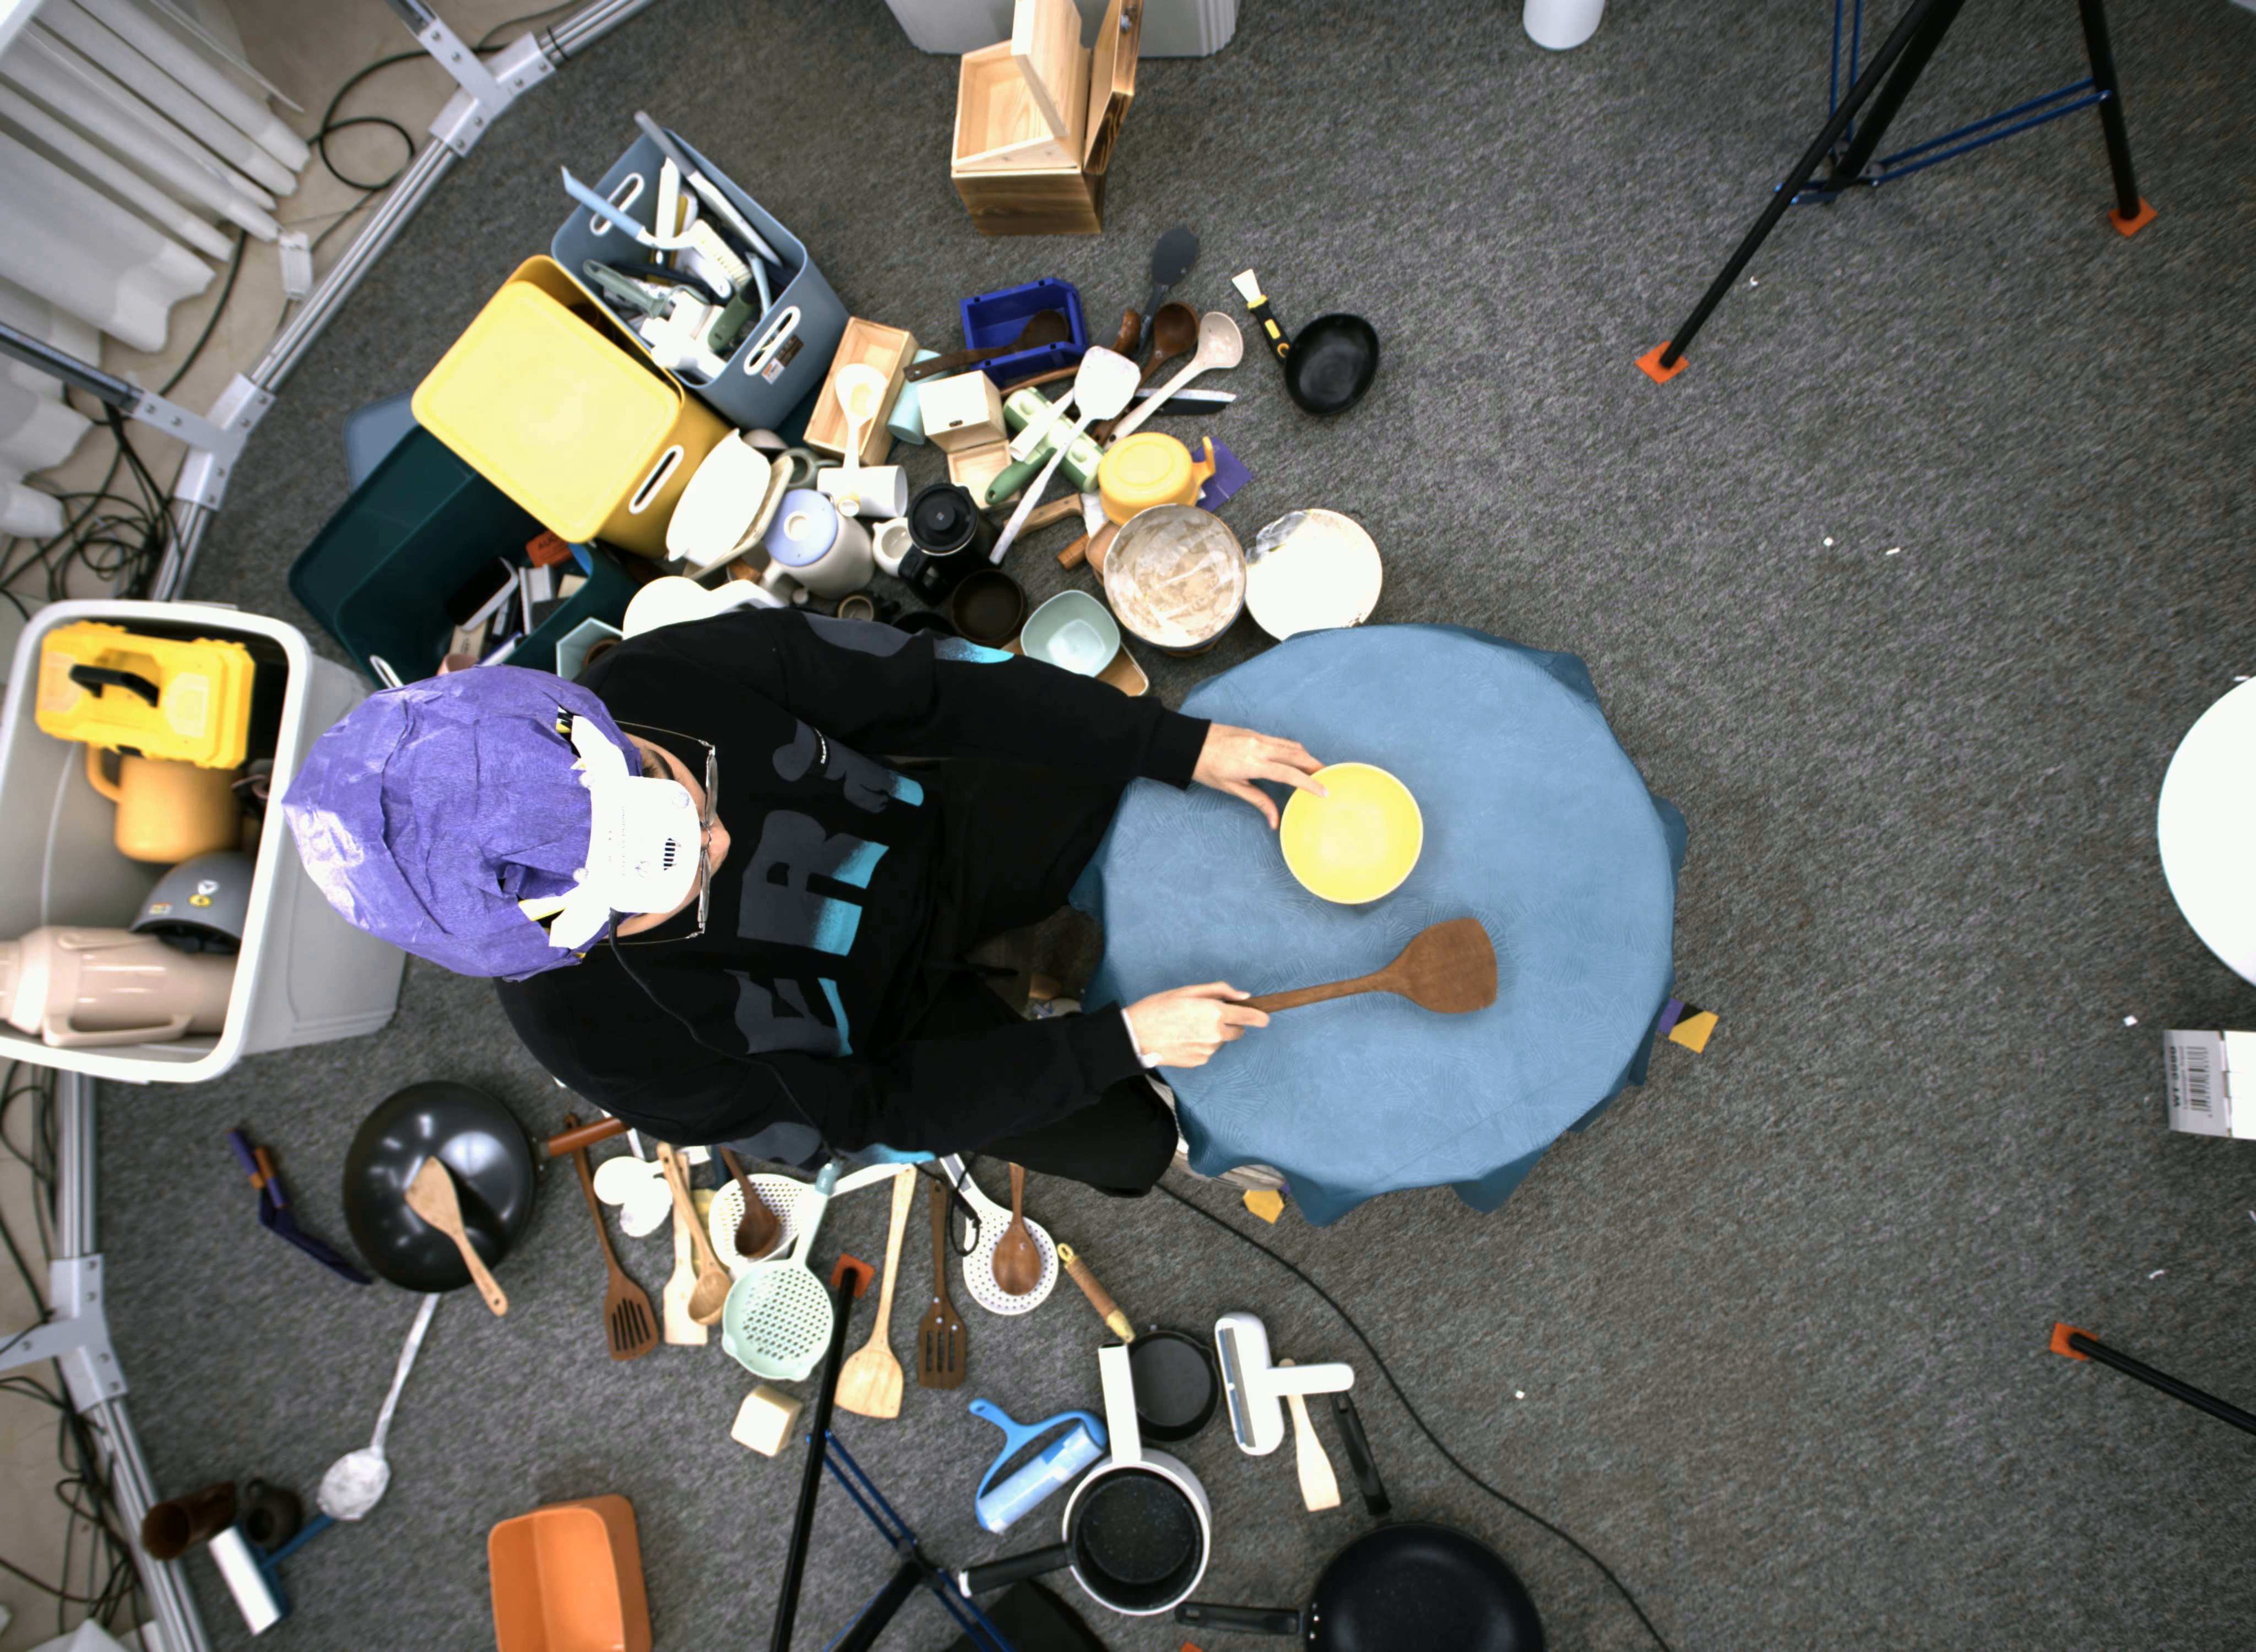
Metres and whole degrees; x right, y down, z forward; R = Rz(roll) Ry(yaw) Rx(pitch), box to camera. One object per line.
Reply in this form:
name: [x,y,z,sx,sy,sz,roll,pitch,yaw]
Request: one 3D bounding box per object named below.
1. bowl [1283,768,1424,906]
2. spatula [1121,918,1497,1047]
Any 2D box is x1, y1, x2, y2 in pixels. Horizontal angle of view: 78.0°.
bowl: [0.236,0.015,1.447,0.146,0.060,0.144,-2,83,11]
spatula: [0.182,0.171,1.392,0.386,0.016,0.096,-11,90,-2]
